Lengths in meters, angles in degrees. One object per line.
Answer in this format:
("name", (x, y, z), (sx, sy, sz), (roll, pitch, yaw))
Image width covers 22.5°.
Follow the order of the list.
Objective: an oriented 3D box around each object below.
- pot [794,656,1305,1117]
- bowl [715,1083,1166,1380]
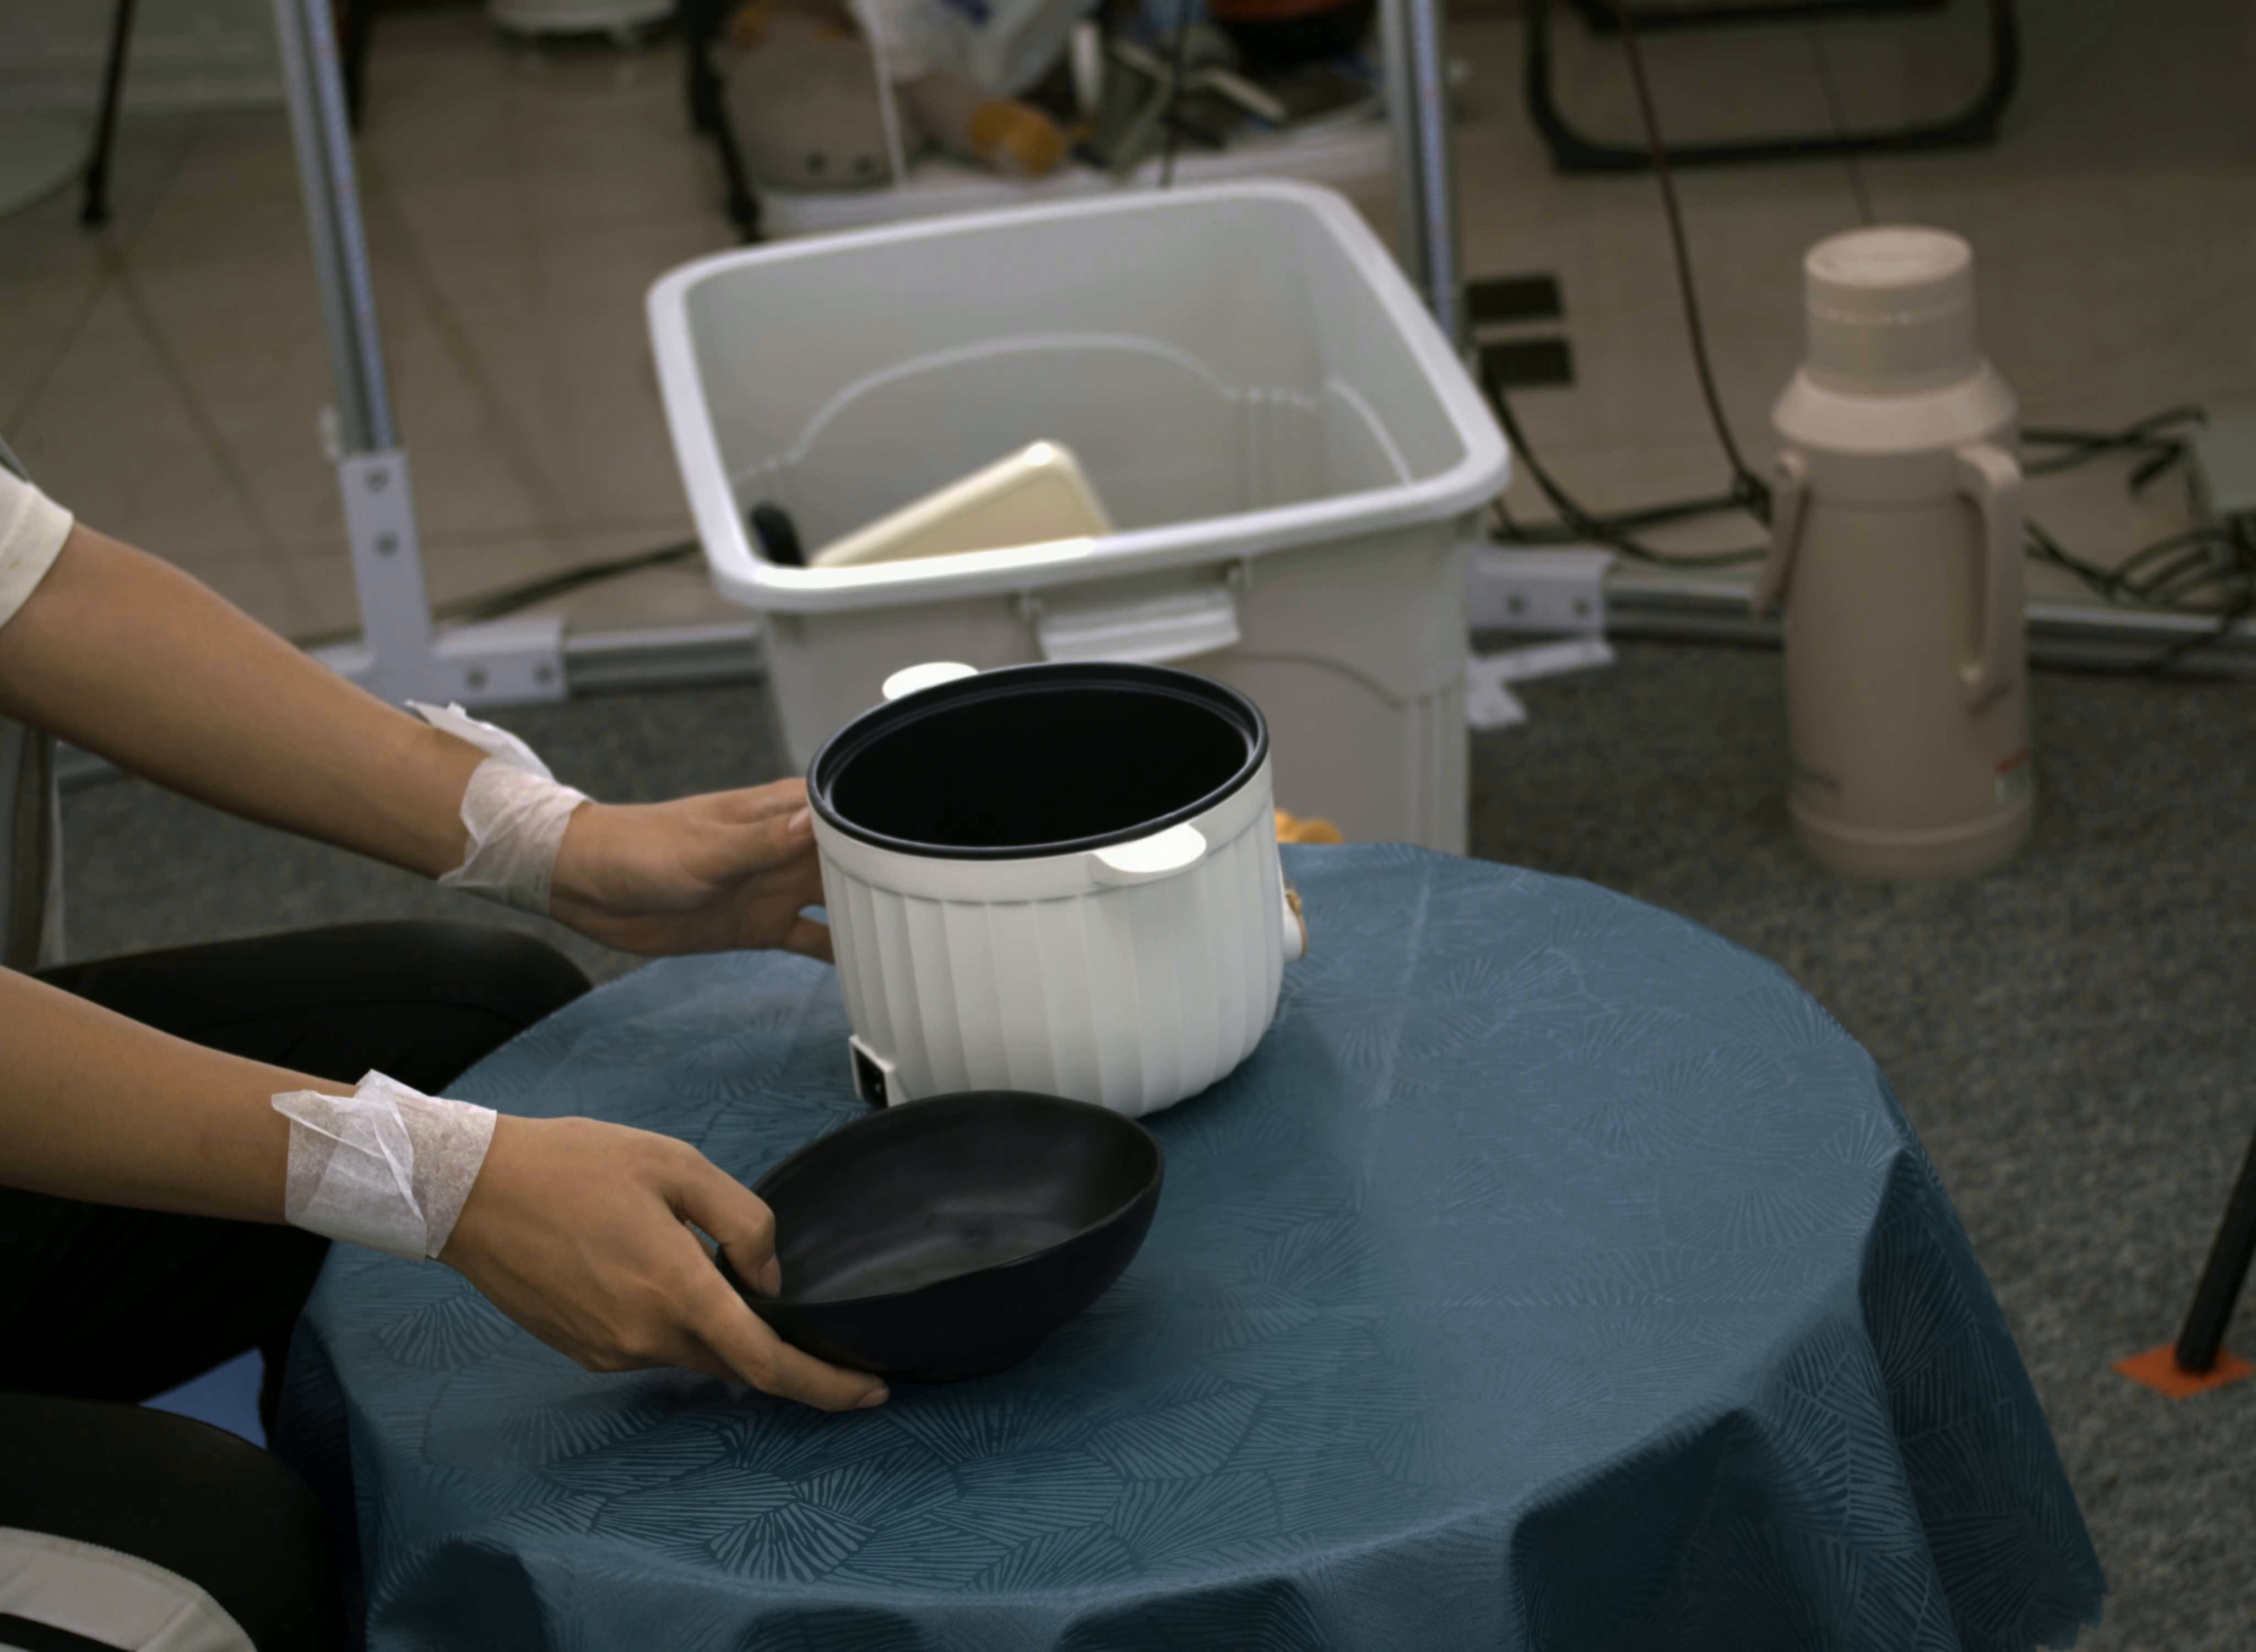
("pot", (-0.025, 0.029, 2.227), (0.189, 0.145, 0.237), (-21, 29, -20))
("bowl", (-0.064, 0.156, 2.051), (0.169, 0.068, 0.136), (-18, 27, -21))
